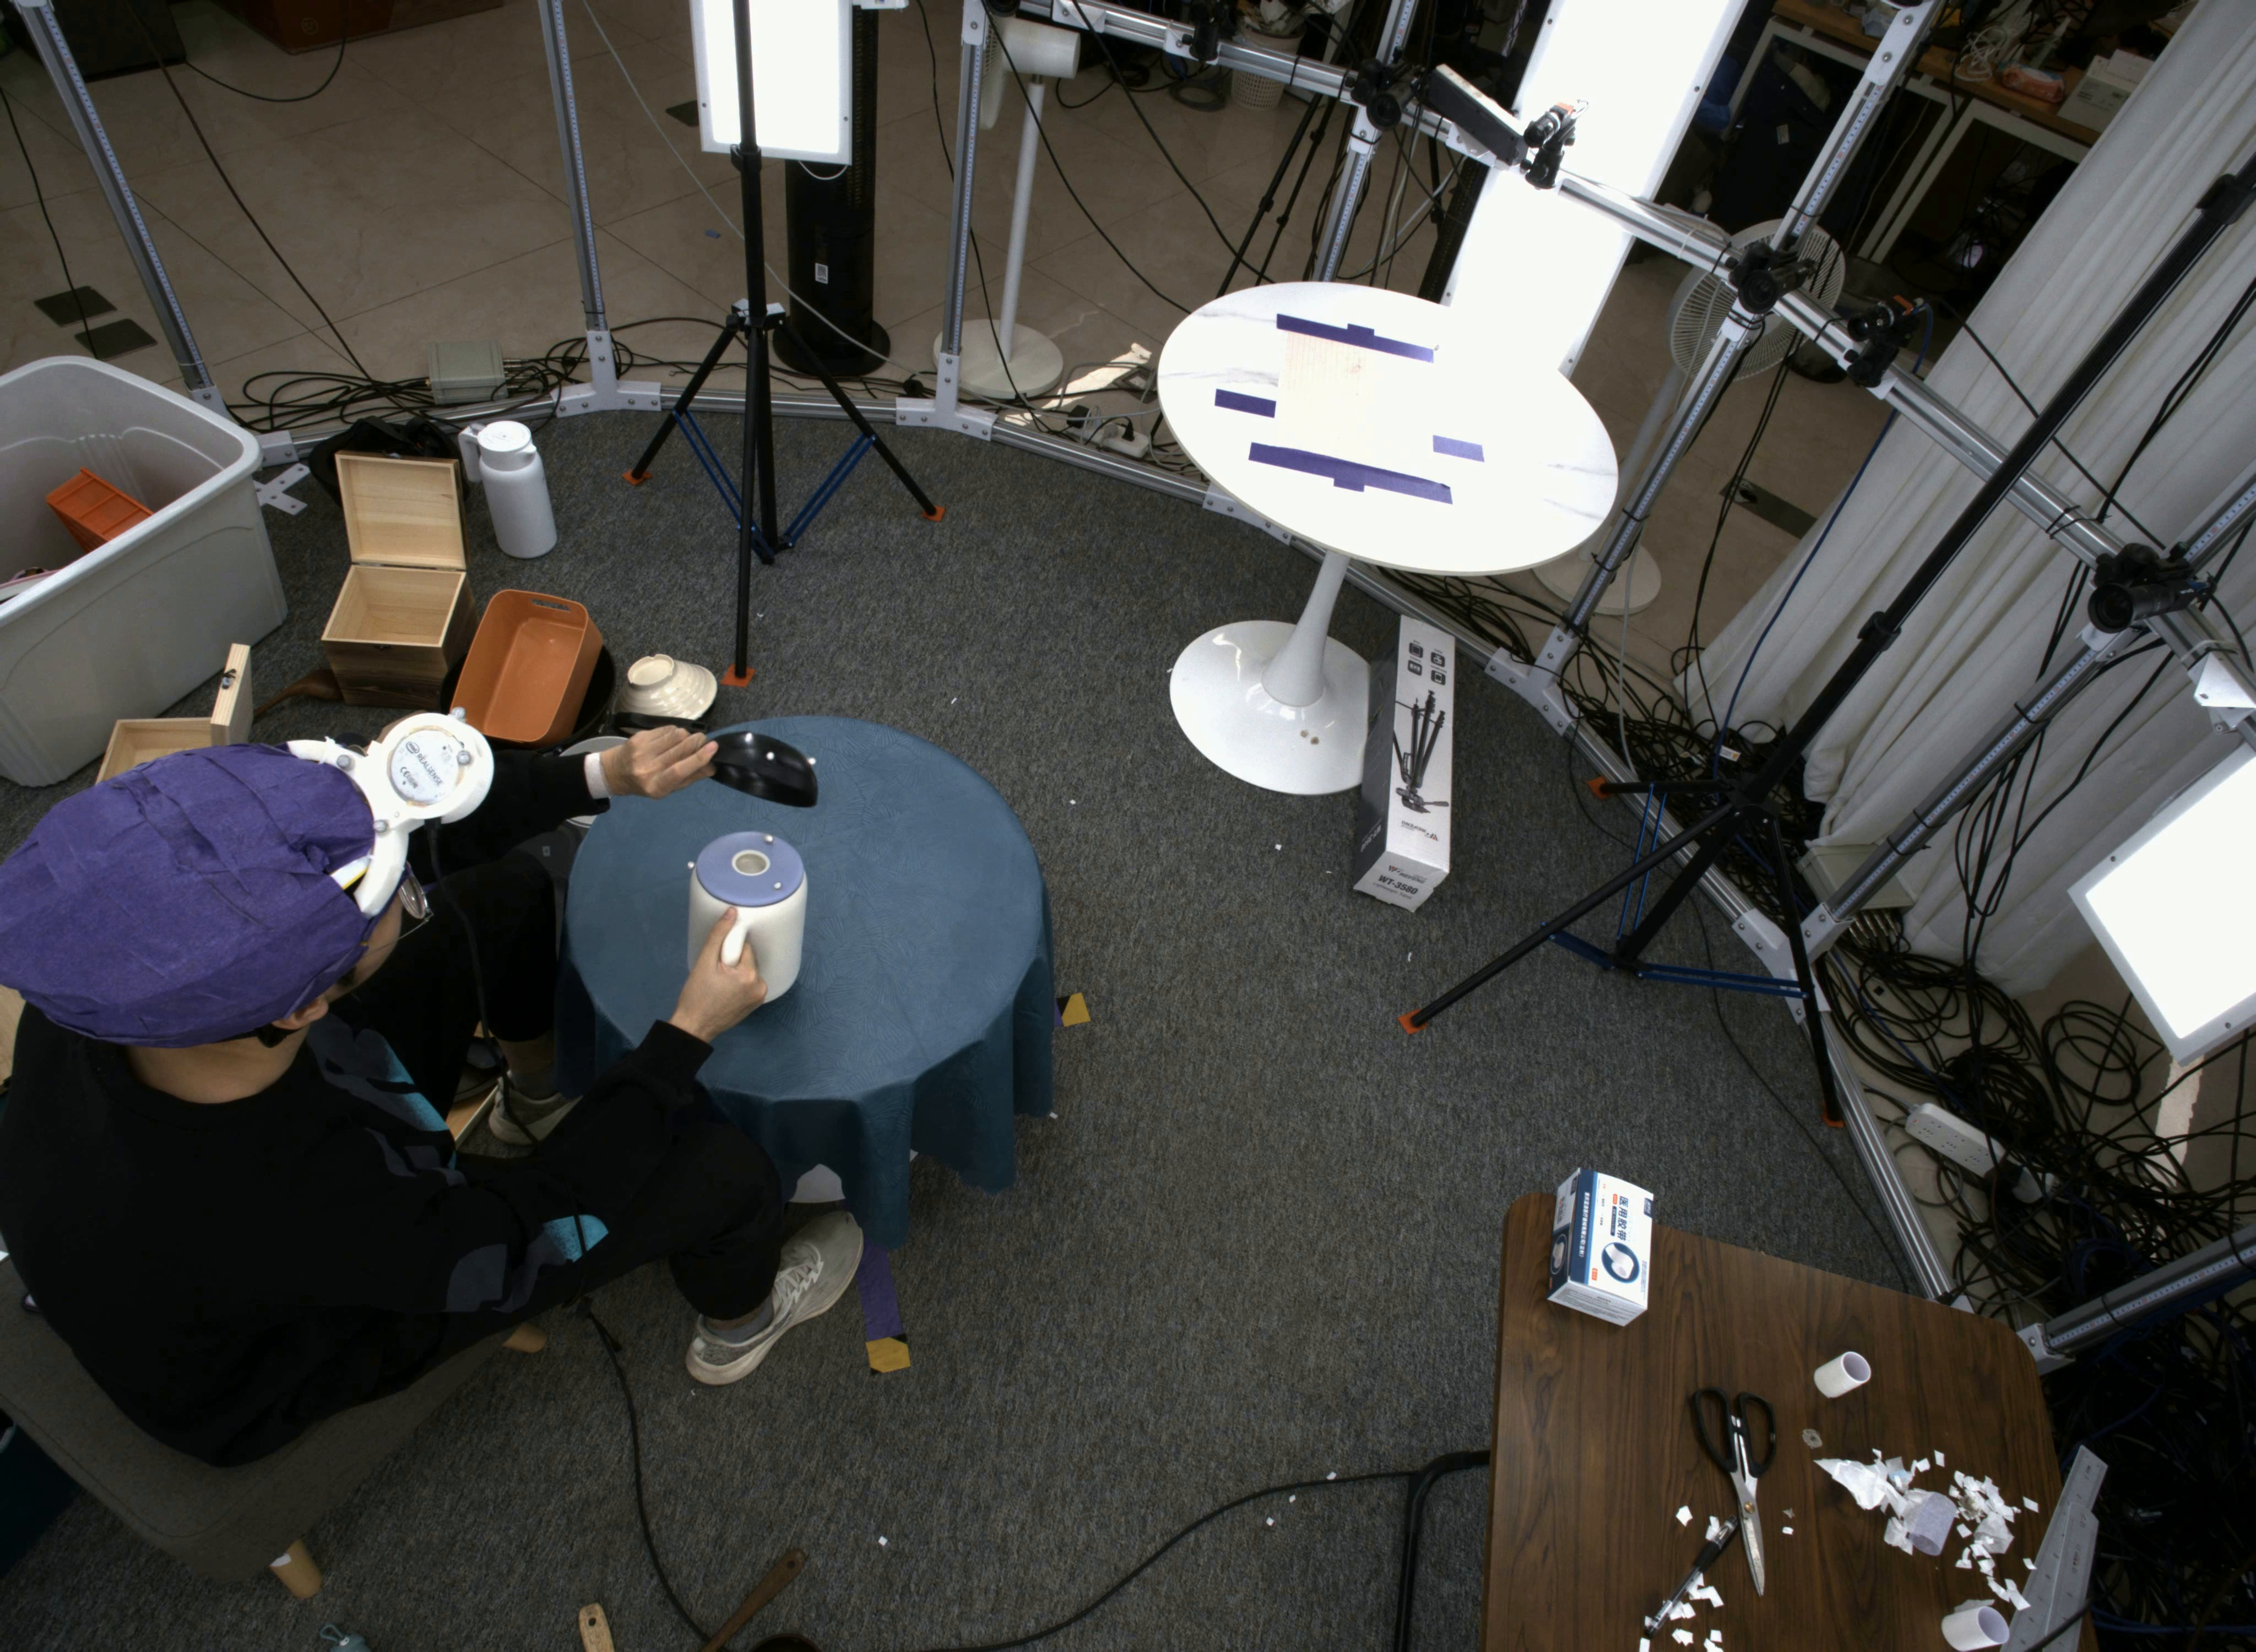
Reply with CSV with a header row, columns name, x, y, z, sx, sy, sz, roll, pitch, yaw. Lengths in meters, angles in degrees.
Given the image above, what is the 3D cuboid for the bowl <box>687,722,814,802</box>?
name,x,y,z,sx,sy,sz,roll,pitch,yaw
bowl,-0.397,-0.075,1.383,0.139,0.141,0.050,16,77,0

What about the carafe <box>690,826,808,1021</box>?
name,x,y,z,sx,sy,sz,roll,pitch,yaw
carafe,-0.439,0.122,1.485,0.132,0.187,0.187,6,44,-10
